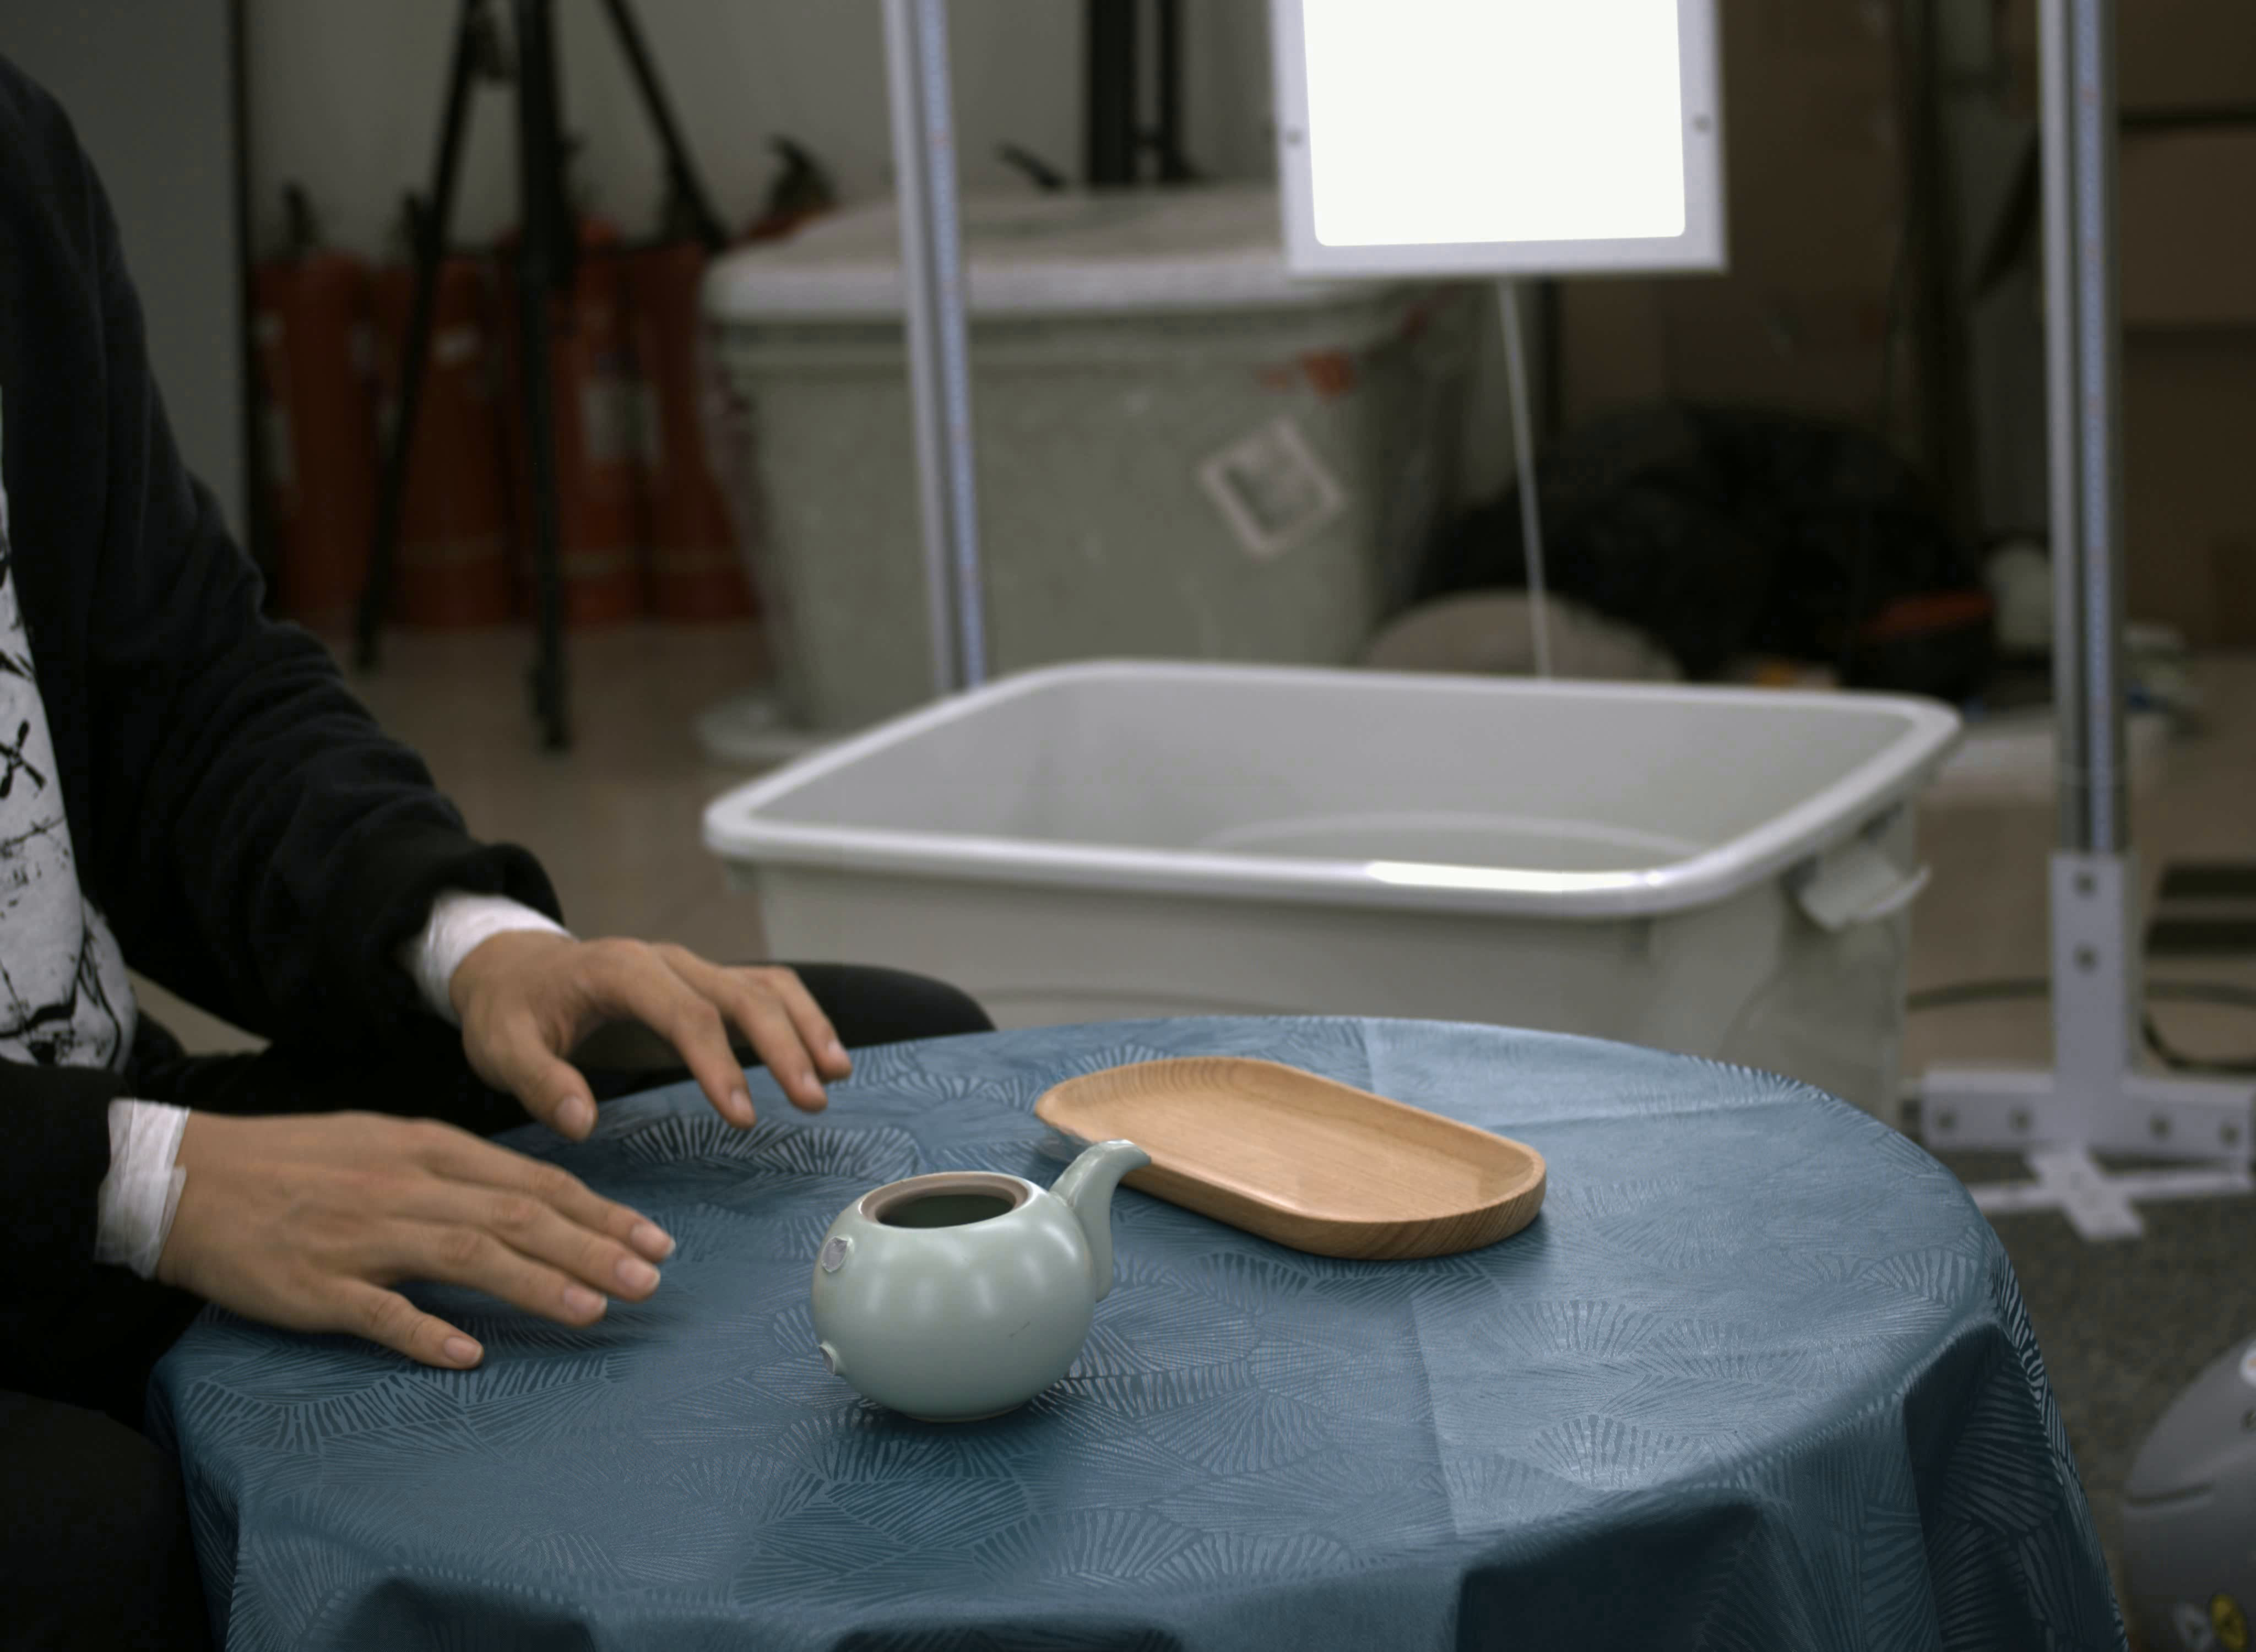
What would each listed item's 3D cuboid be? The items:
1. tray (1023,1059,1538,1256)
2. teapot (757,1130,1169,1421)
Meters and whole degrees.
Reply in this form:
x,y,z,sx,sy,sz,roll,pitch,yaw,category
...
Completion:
x,y,z,sx,sy,sz,roll,pitch,yaw,category
0.051,0.113,1.902,0.099,0.020,0.236,-12,14,-32,tray
-0.047,0.142,1.704,0.141,0.075,0.090,-12,15,-24,teapot
